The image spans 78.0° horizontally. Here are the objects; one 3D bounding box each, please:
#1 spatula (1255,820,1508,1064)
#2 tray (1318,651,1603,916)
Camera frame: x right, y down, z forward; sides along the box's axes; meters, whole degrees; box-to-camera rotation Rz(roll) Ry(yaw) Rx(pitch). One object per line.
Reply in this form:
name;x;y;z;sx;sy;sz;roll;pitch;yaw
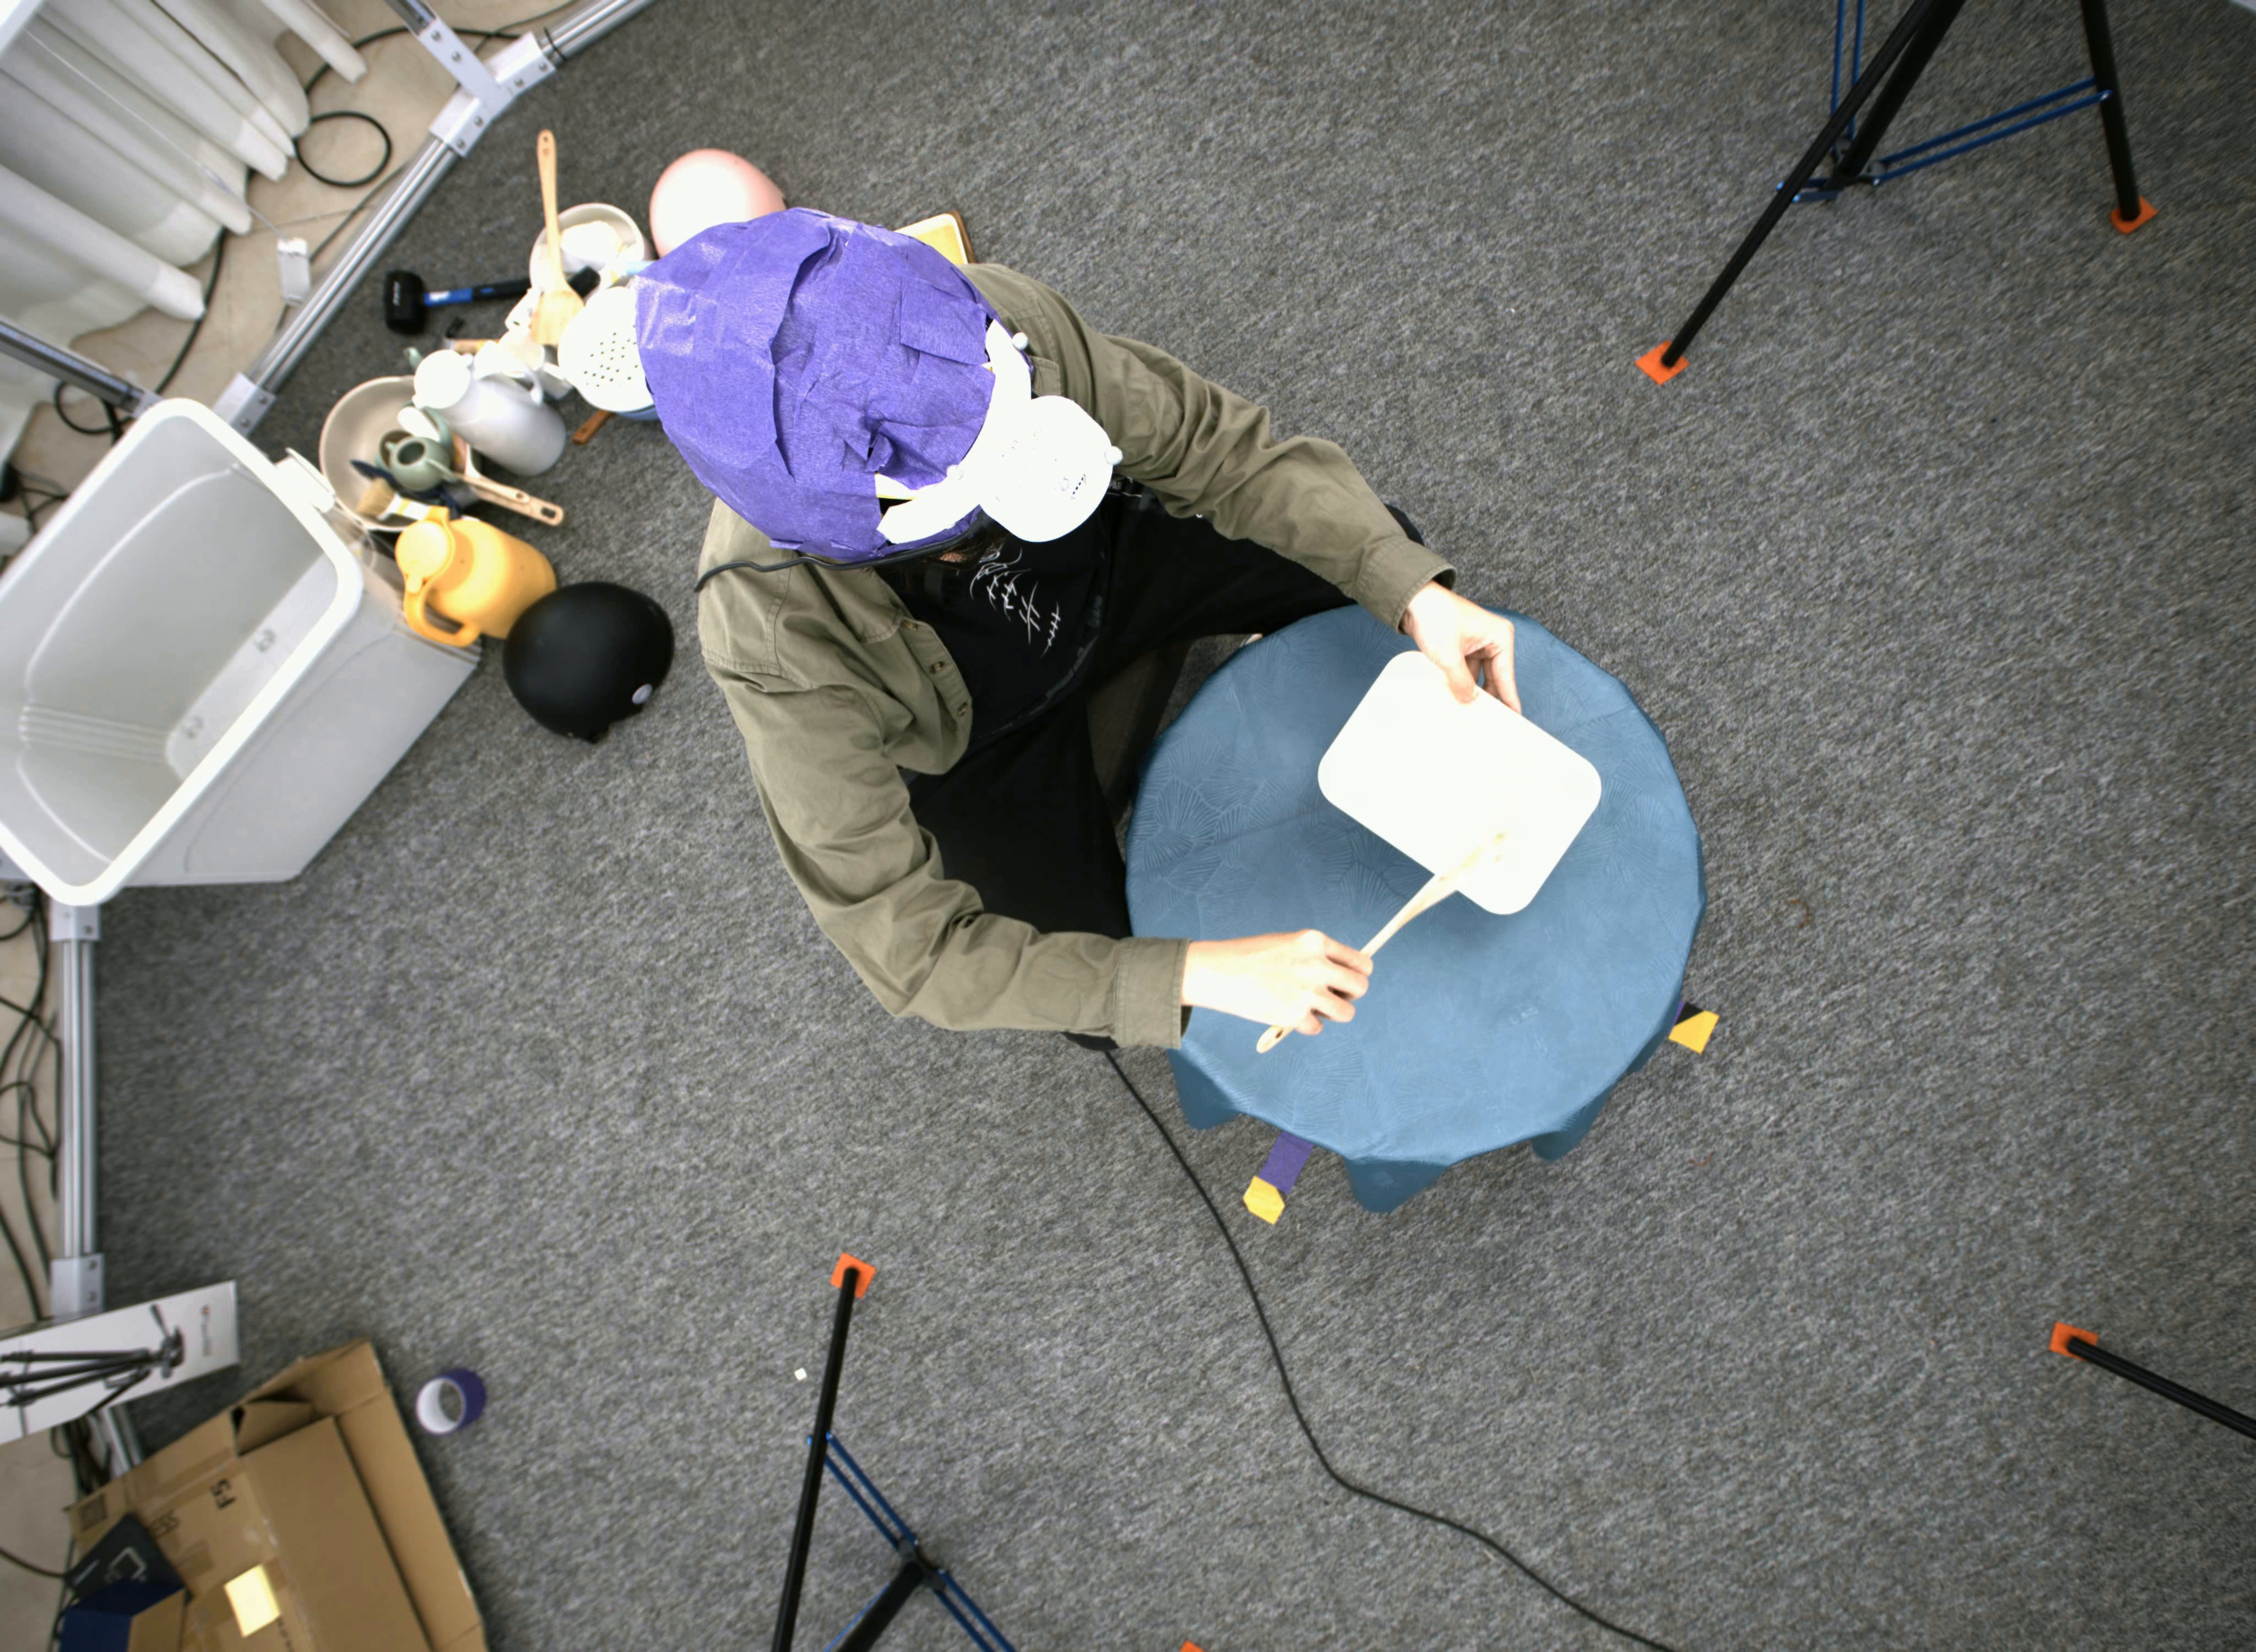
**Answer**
spatula;0.230;0.101;1.223;0.323;0.081;0.016;-40;64;-16
tray;0.312;-0.041;1.294;0.240;0.017;0.172;35;94;0
